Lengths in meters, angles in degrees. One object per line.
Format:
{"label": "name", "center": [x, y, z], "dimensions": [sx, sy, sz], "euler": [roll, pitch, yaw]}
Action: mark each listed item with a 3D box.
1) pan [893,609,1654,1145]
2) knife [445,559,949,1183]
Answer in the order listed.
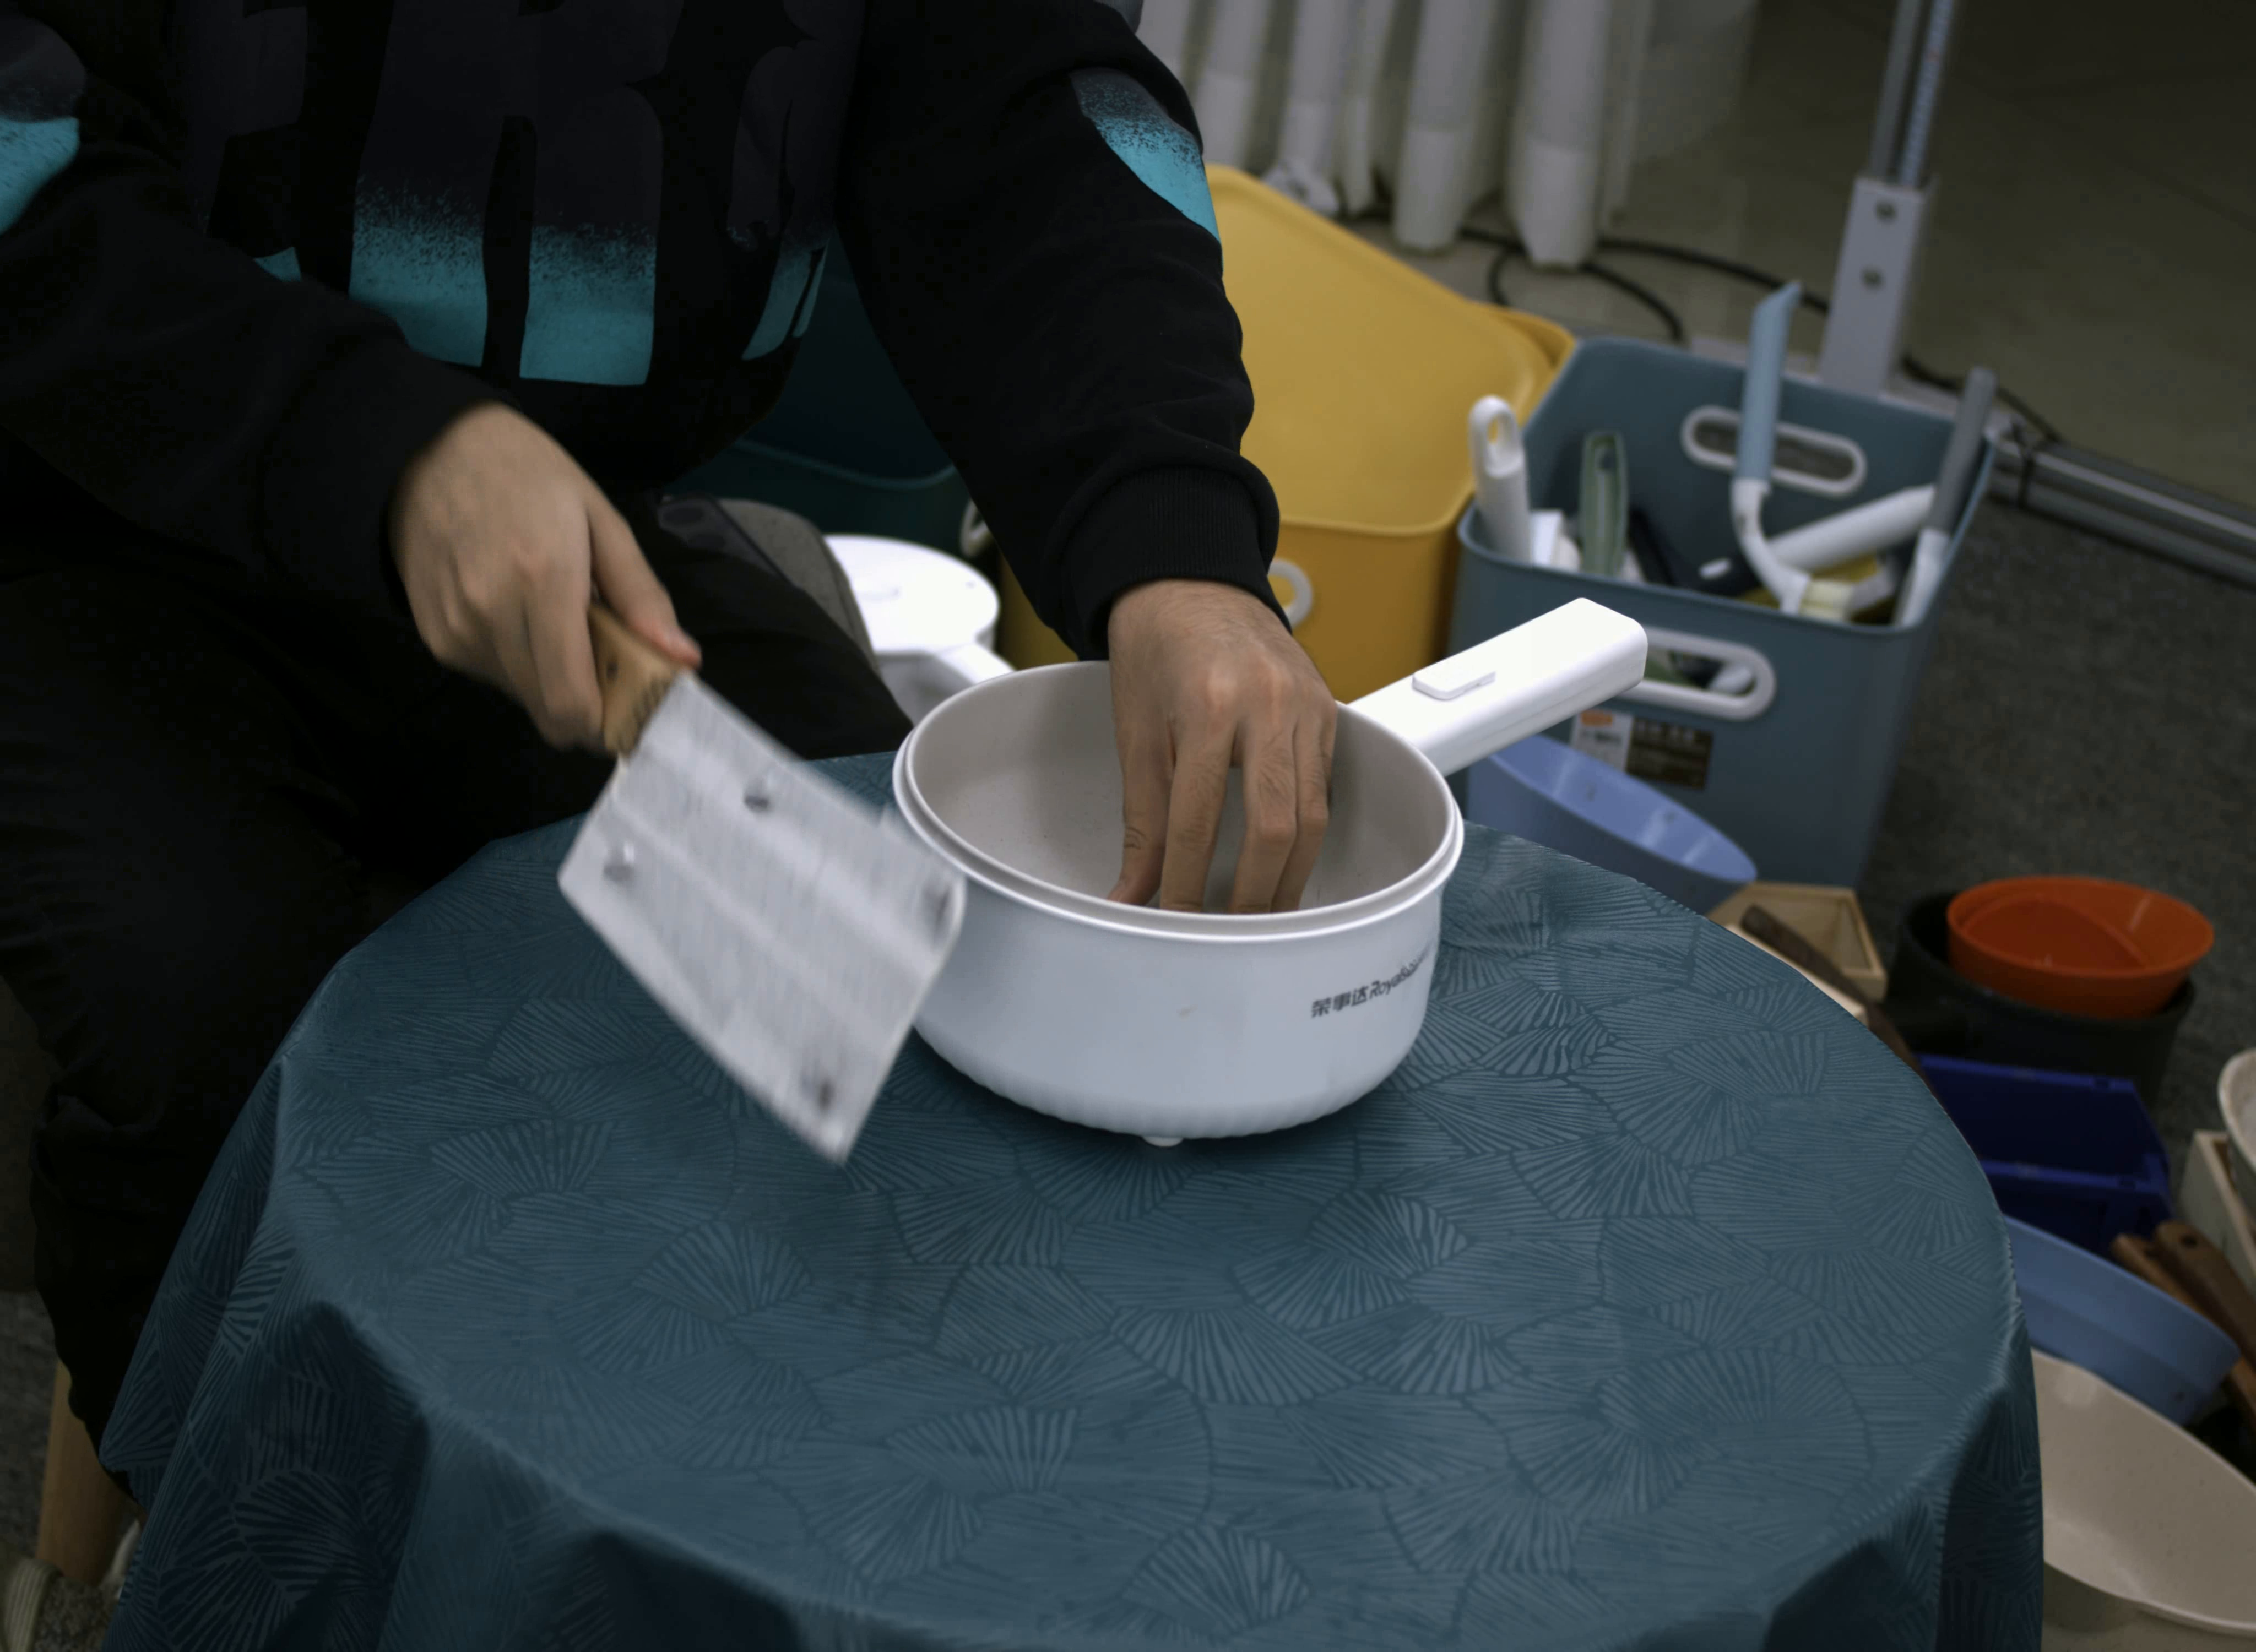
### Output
{"label": "pan", "center": [0.064, 0.009, 1.933], "dimensions": [0.202, 0.102, 0.353], "euler": [26, 32, 35]}
{"label": "knife", "center": [-0.150, -0.001, 1.768], "dimensions": [0.021, 0.114, 0.318], "euler": [17, 21, -42]}
